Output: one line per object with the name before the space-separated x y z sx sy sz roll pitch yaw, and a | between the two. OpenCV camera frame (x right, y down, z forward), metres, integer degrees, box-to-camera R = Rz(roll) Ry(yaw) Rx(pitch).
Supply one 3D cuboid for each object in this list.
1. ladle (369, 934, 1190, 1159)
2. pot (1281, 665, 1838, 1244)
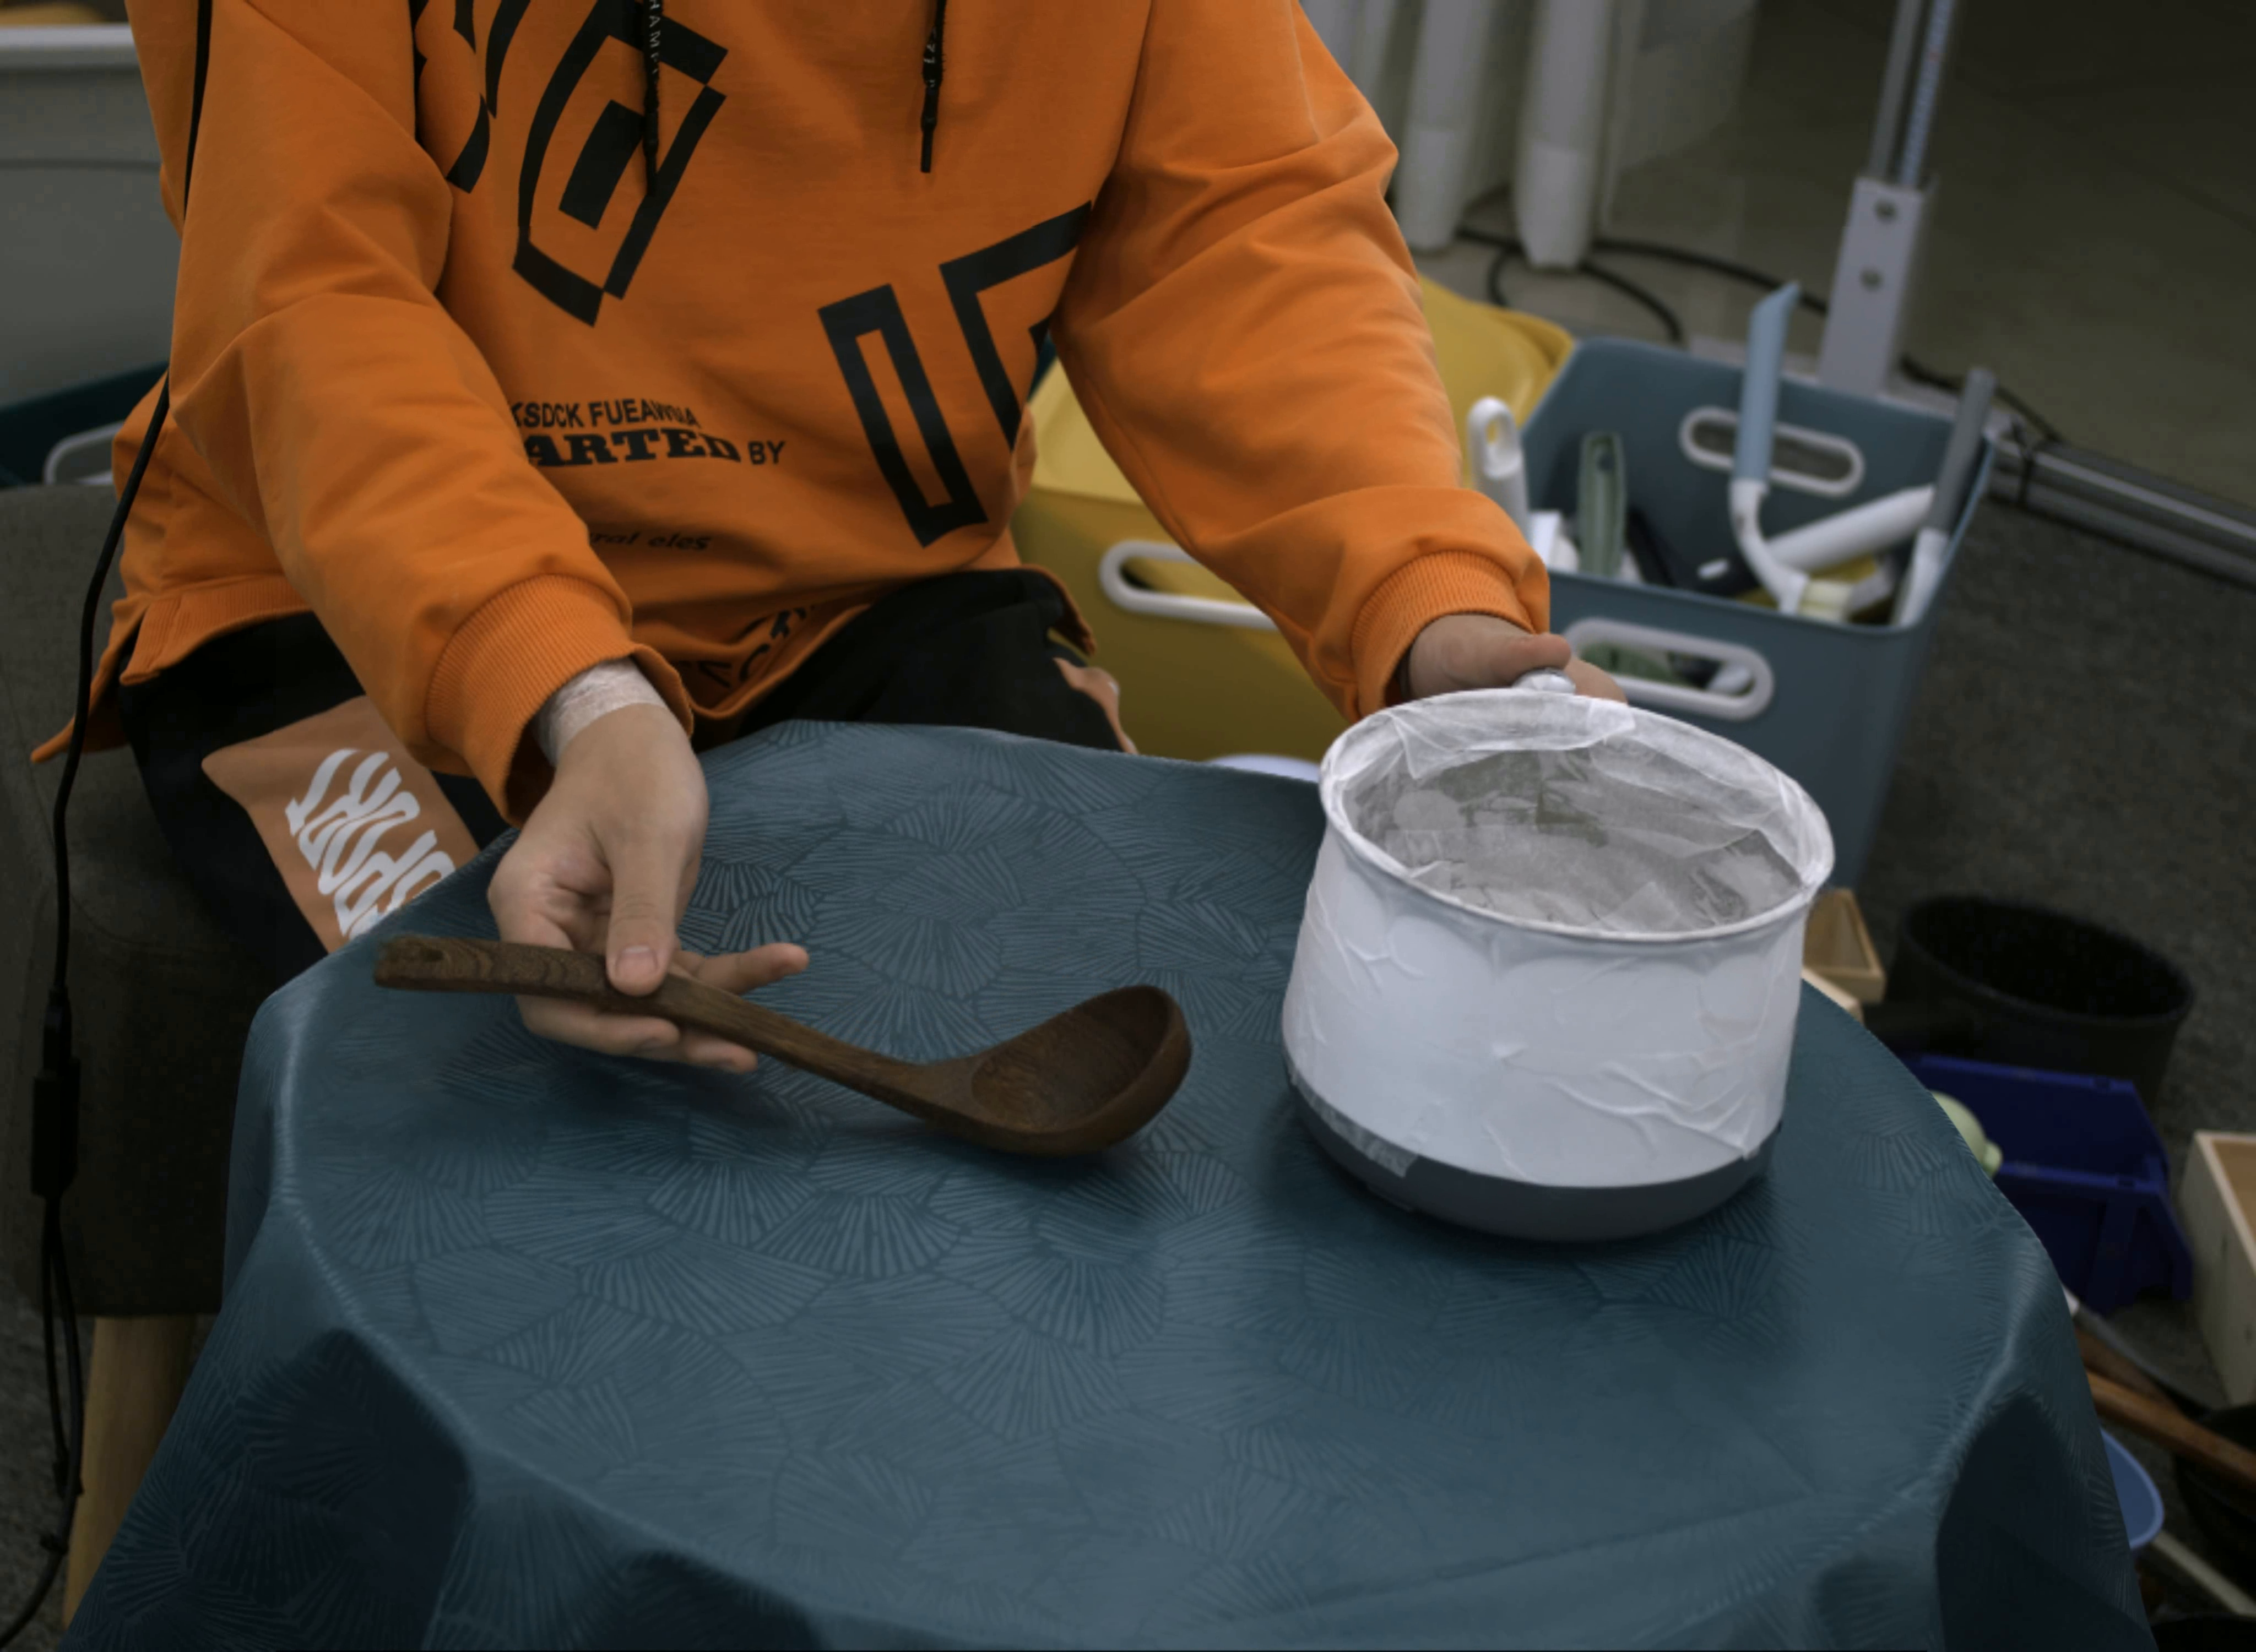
ladle | -0.115 0.055 1.796 0.273 0.071 0.076 16 24 -10
pot | 0.143 0.037 1.852 0.178 0.136 0.235 5 27 -6
